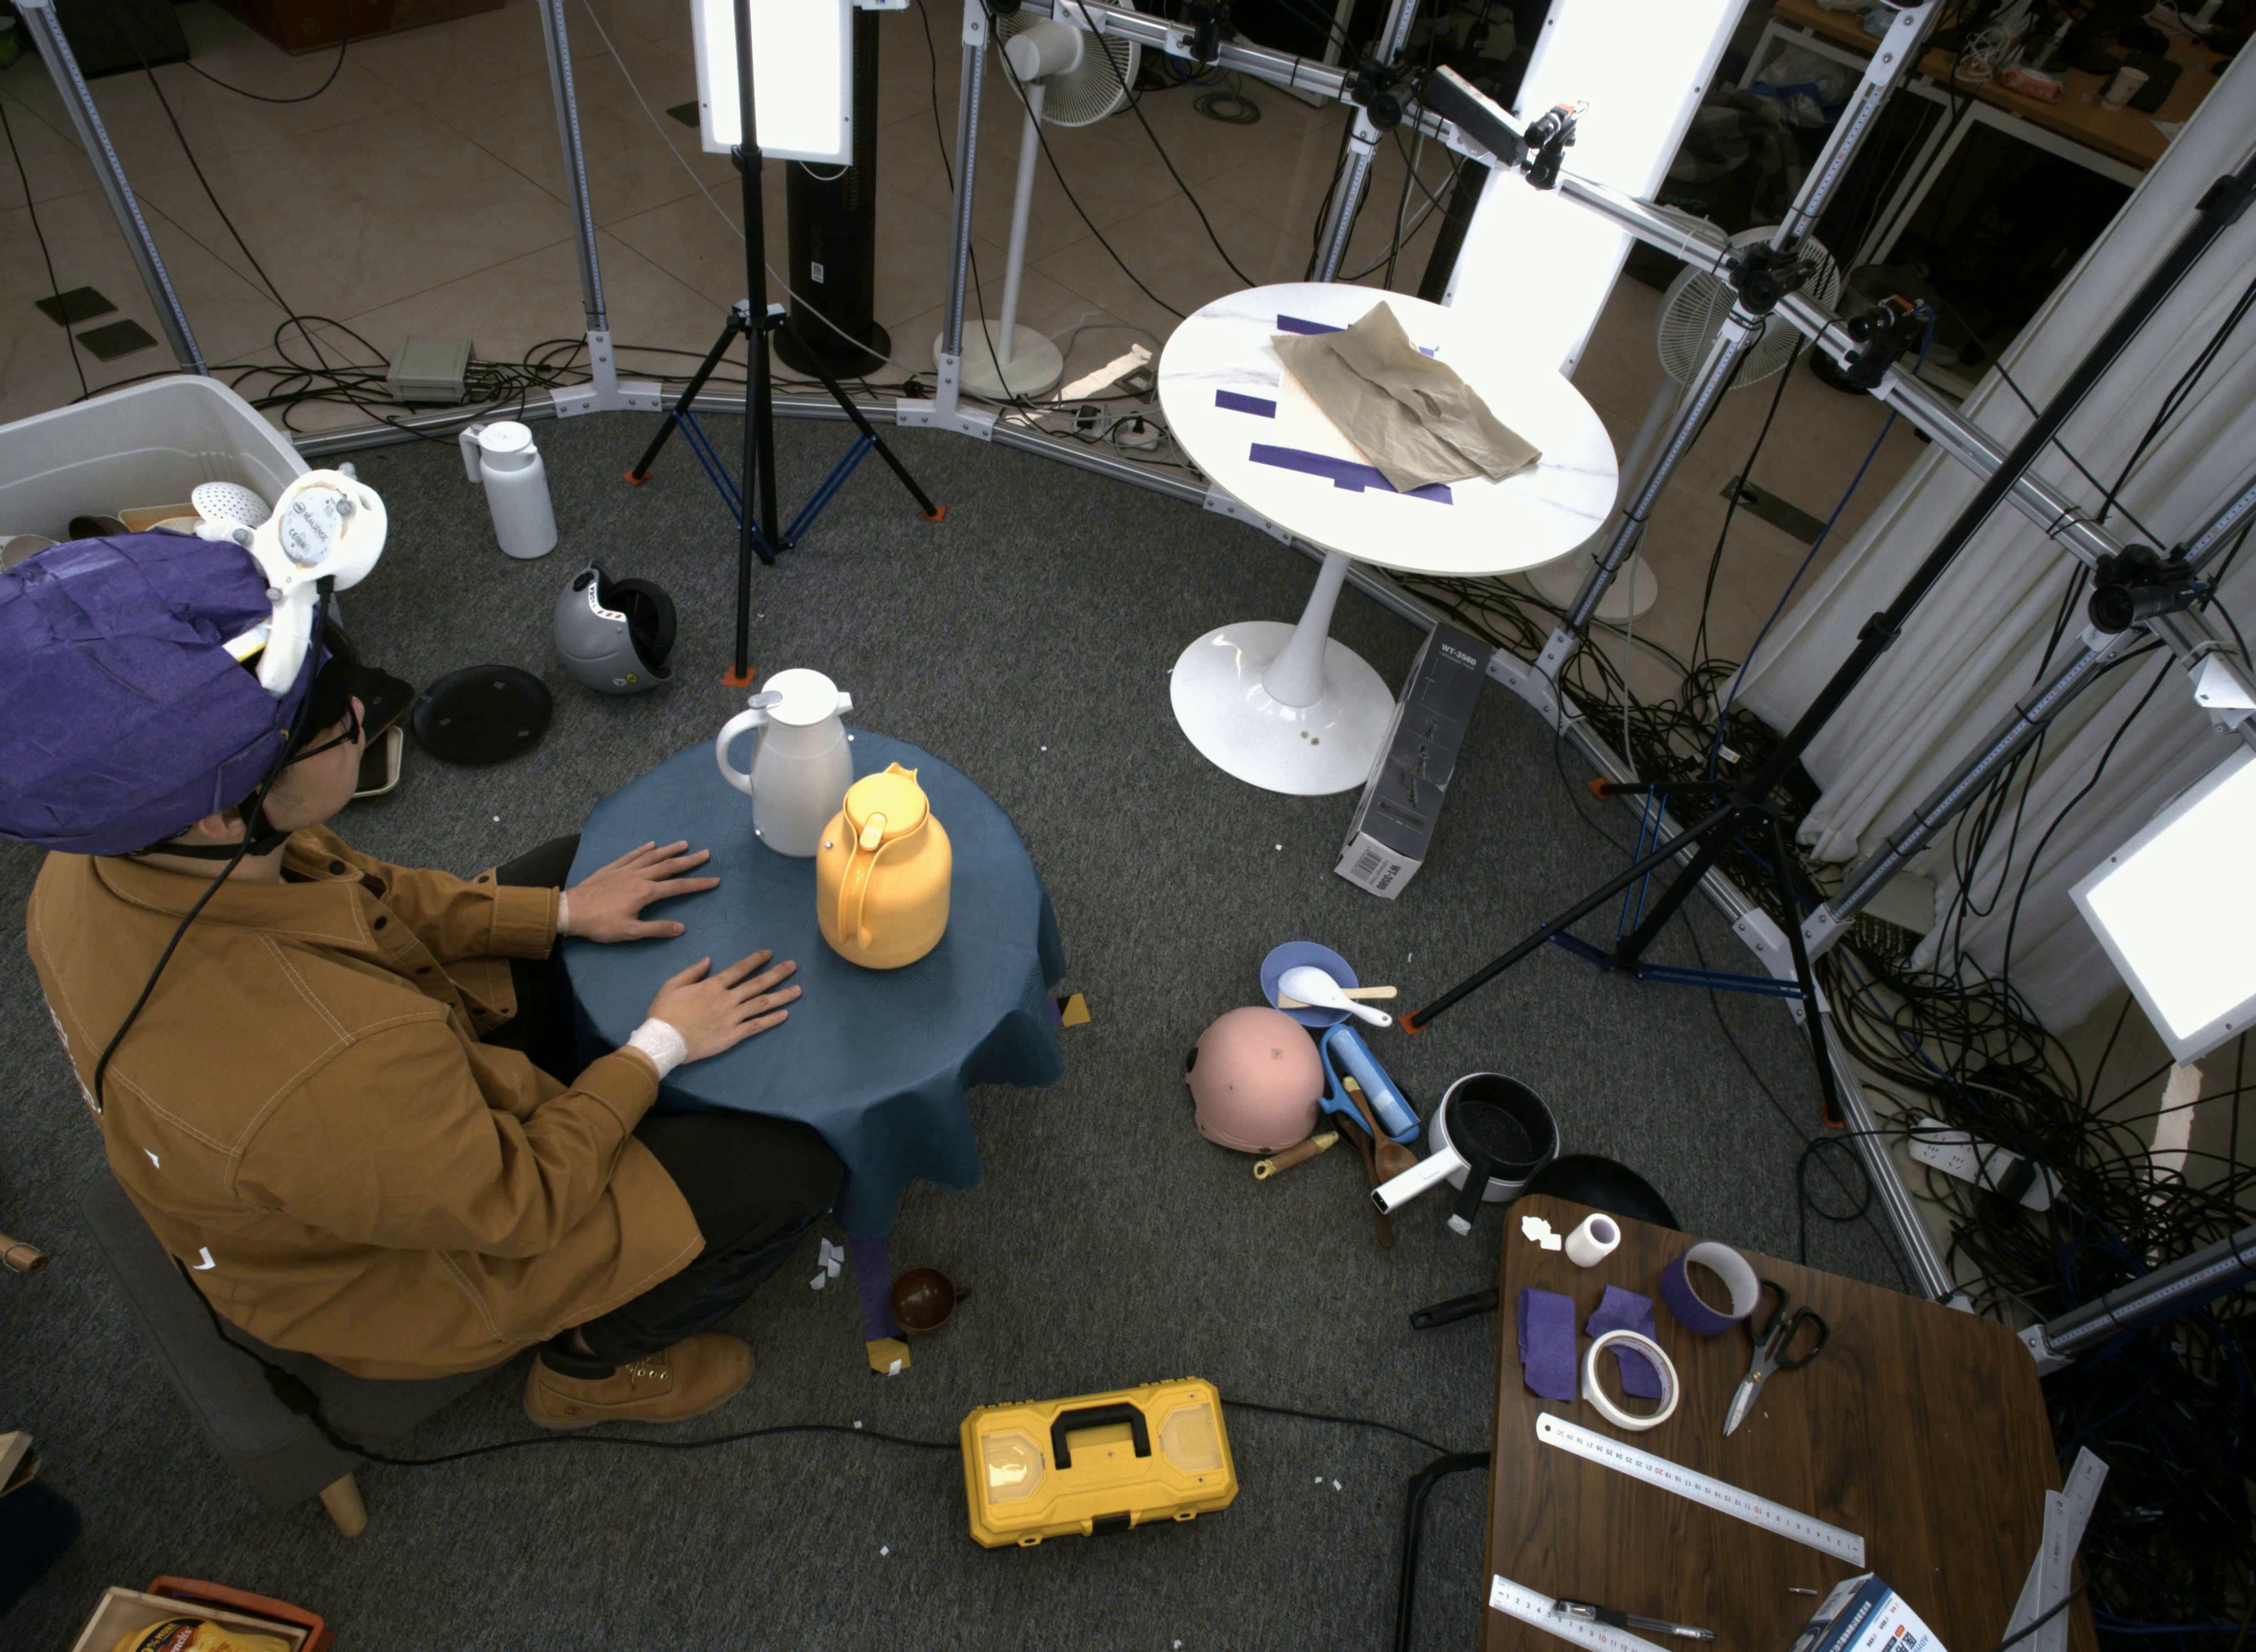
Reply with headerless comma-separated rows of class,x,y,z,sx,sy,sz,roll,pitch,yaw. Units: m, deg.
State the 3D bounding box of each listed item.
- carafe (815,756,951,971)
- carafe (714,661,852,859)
carafe,-0.299,0.058,1.543,0.161,0.267,0.200,16,49,3
carafe,-0.430,-0.085,1.622,0.168,0.254,0.129,-10,55,-19
